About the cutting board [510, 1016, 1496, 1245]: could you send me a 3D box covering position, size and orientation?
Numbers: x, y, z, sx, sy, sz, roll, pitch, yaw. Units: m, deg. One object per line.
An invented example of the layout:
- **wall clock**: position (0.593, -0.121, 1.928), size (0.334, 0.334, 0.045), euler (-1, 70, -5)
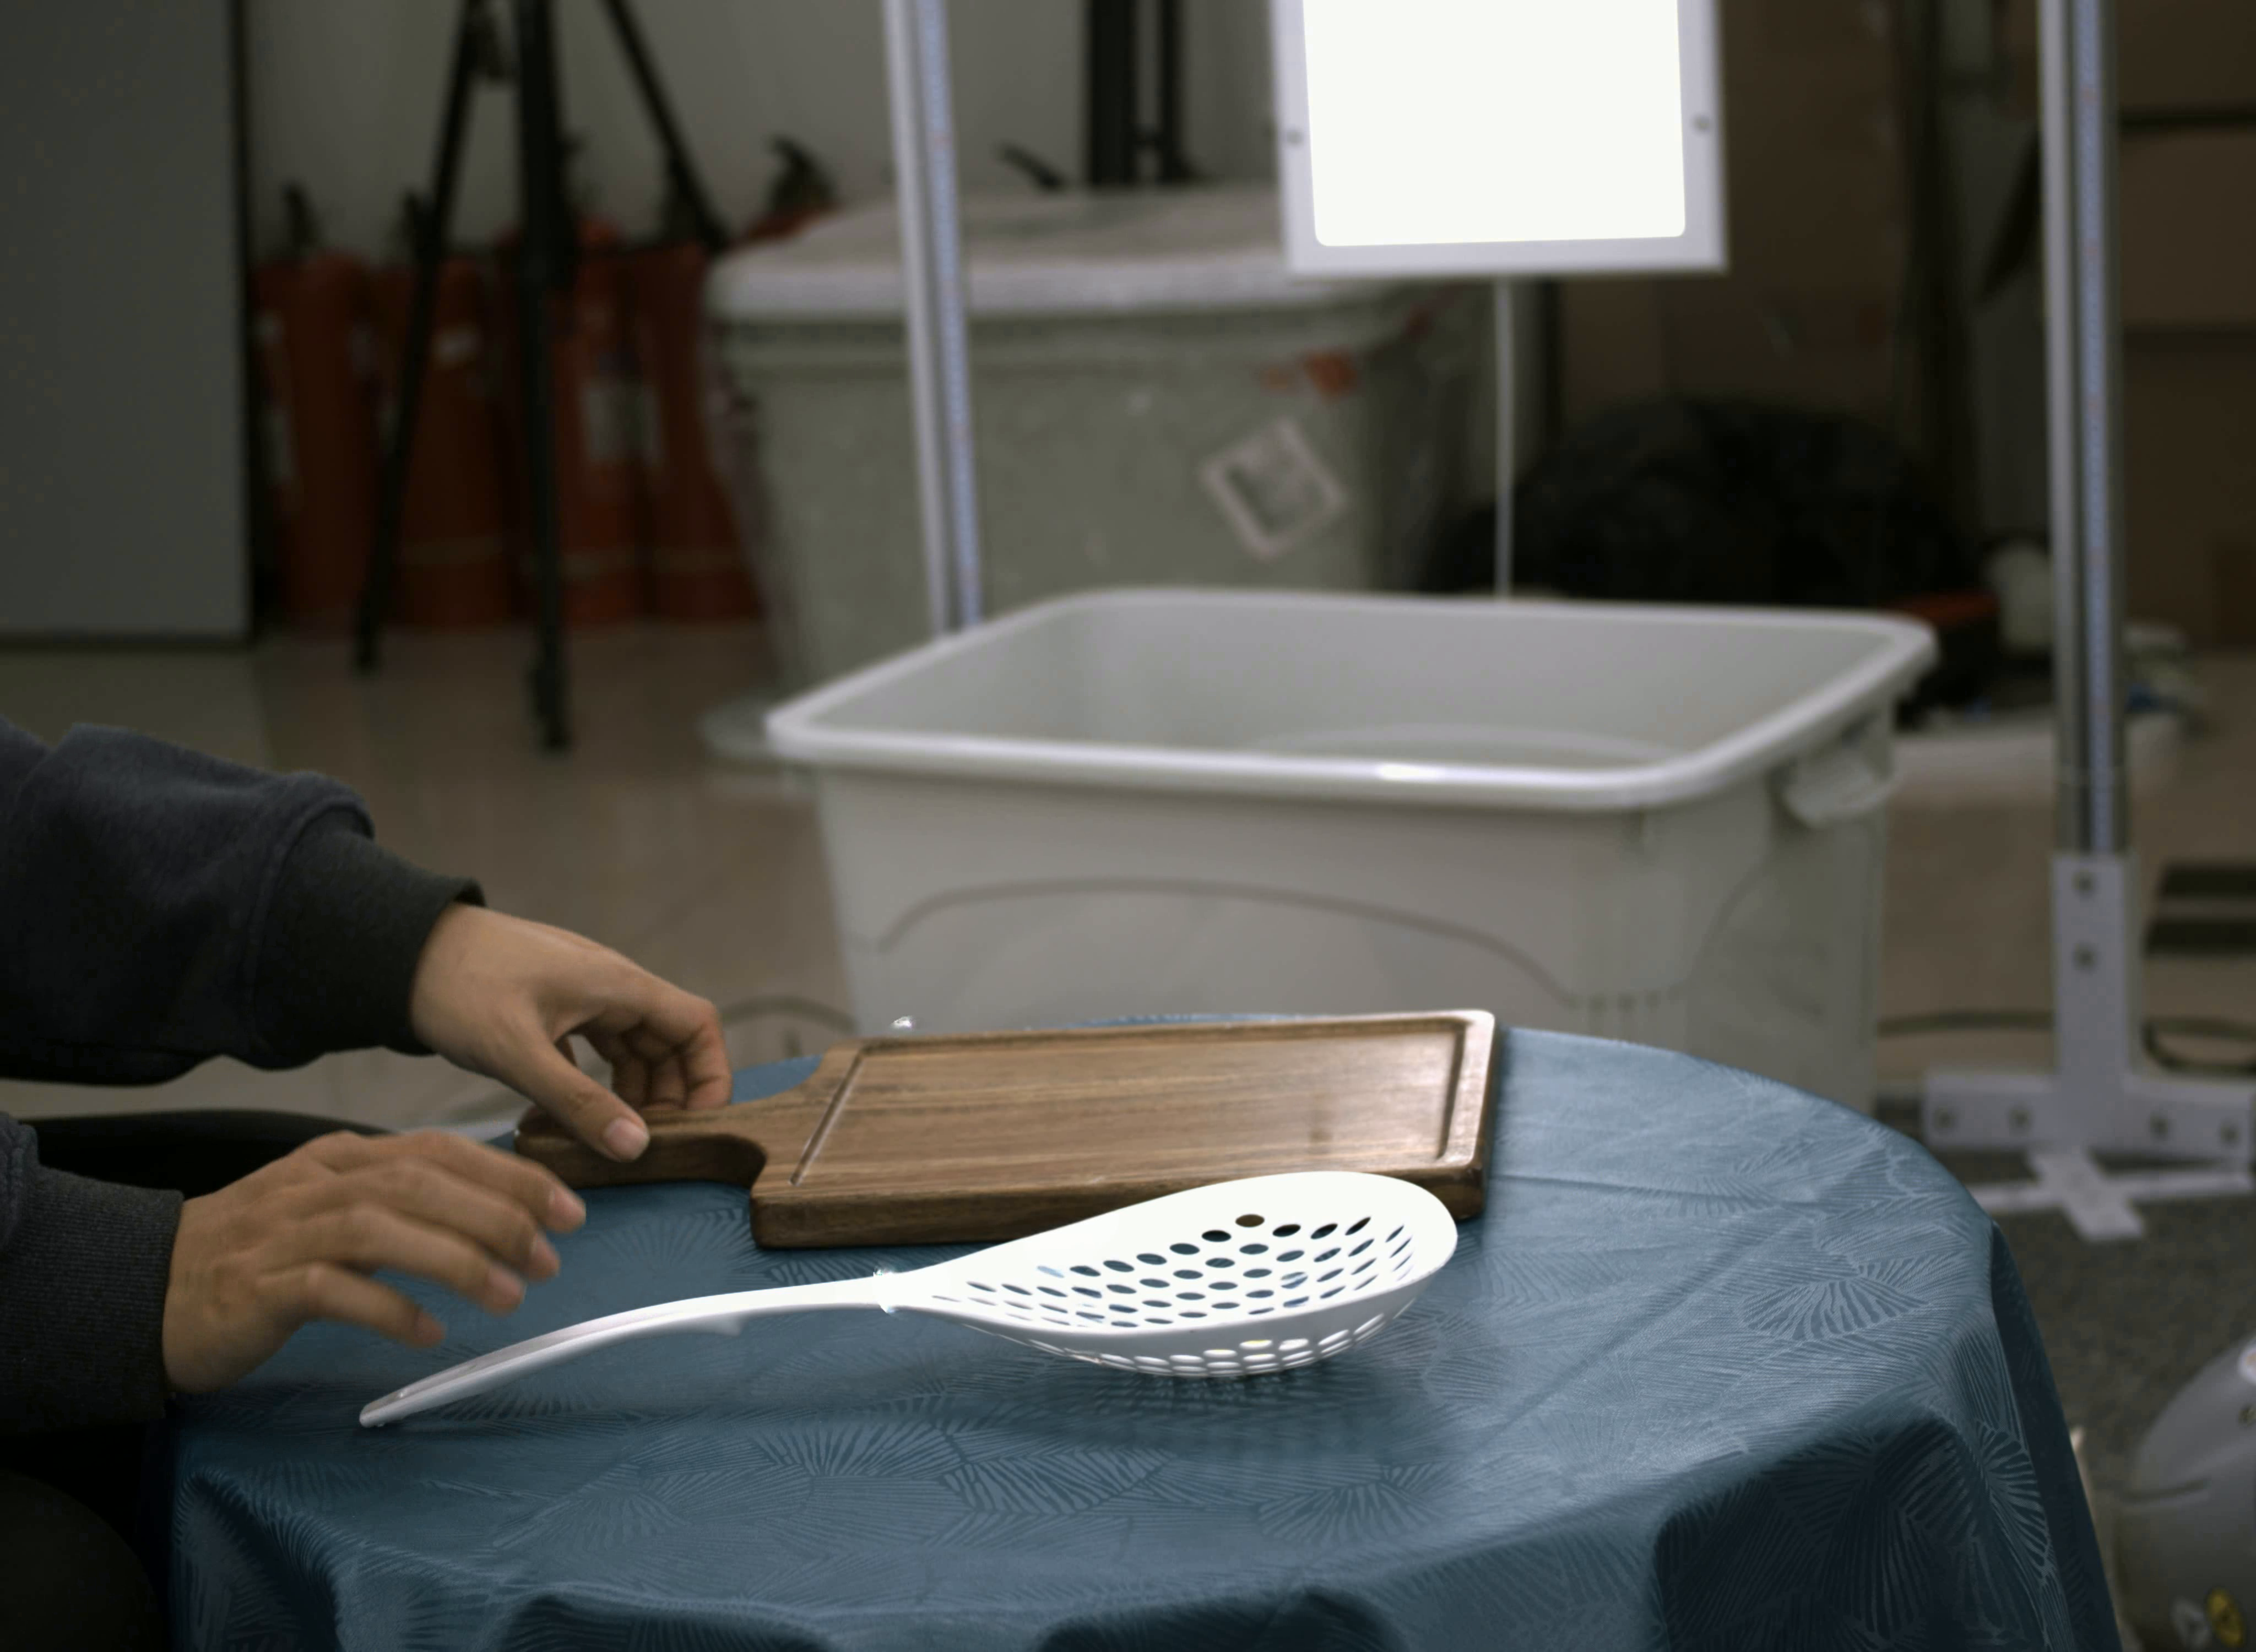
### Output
- **cutting board**: position (-0.045, 0.108, 1.947), size (0.353, 0.023, 0.199), euler (-3, 13, 8)

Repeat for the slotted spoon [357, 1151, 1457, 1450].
- **slotted spoon**: position (-0.069, 0.155, 1.719), size (0.347, 0.050, 0.136), euler (-4, 16, 2)
